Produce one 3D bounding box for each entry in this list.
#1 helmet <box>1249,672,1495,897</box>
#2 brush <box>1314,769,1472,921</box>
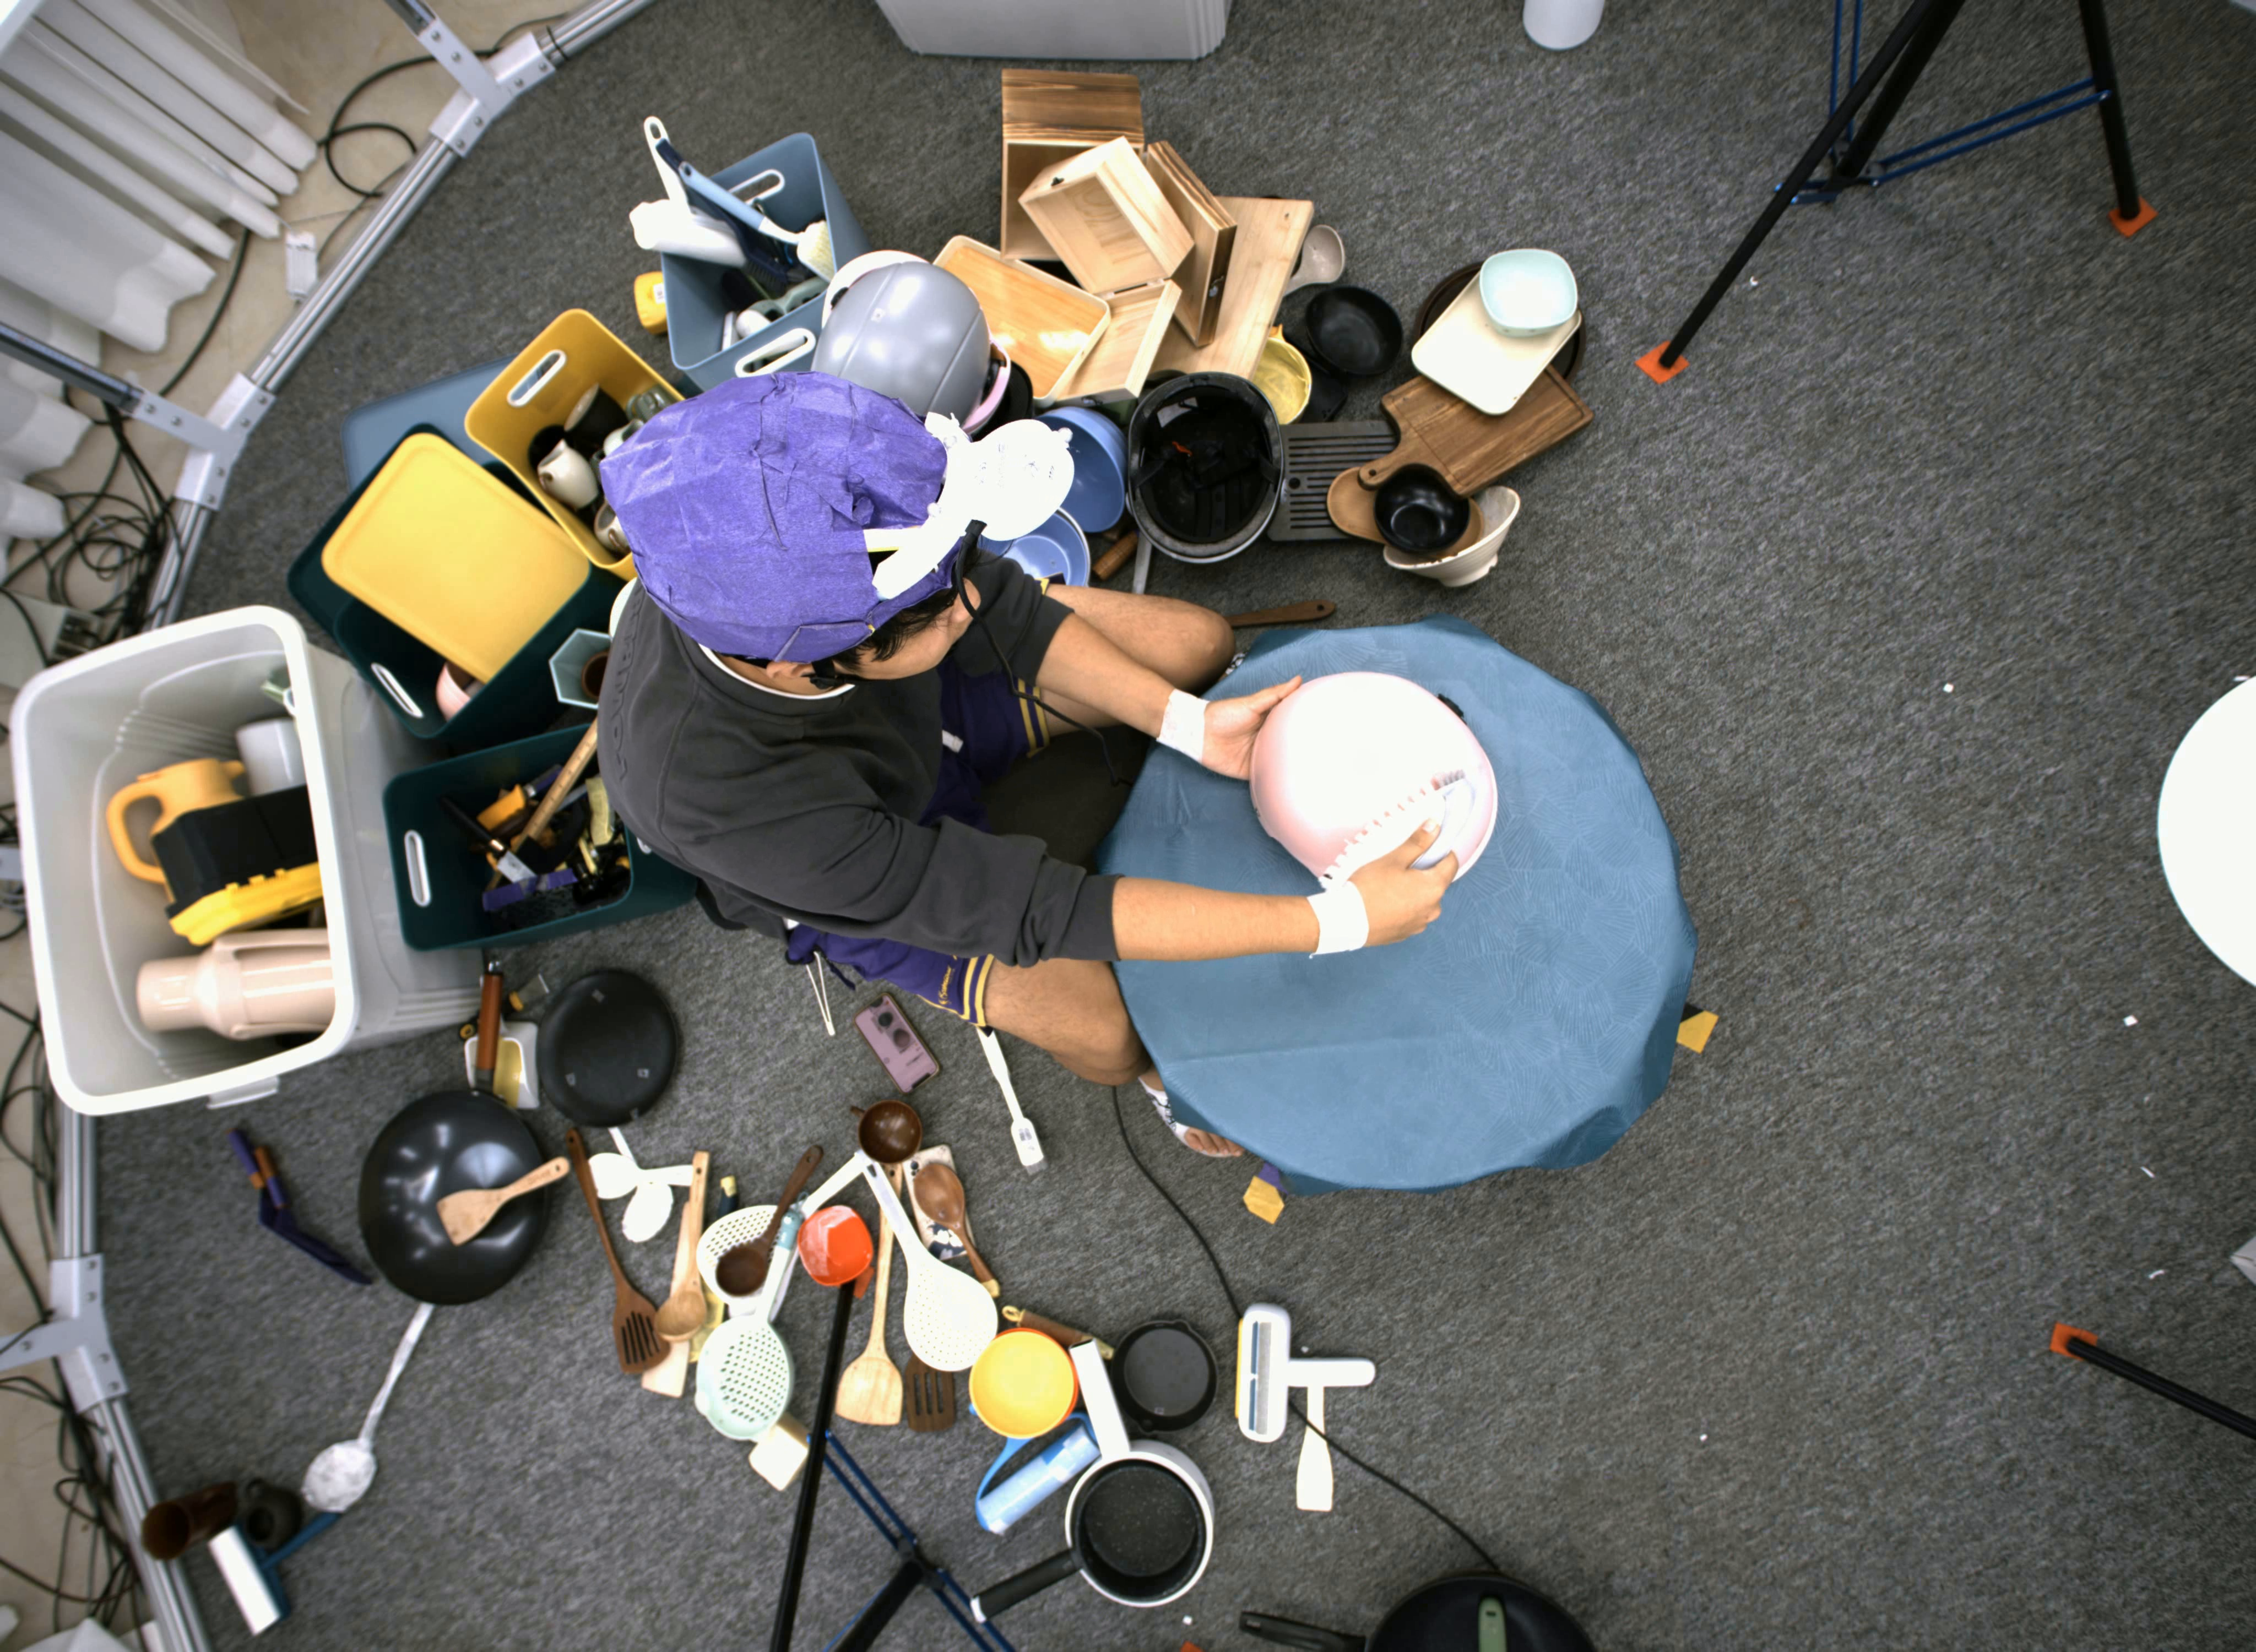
[{"bbox_3d":[0.254,-0.046,1.391,0.266,0.159,0.234,30,91,3],"label":"helmet"},{"bbox_3d":[0.261,0.017,1.281,0.176,0.093,0.062,-45,114,2],"label":"brush"}]
